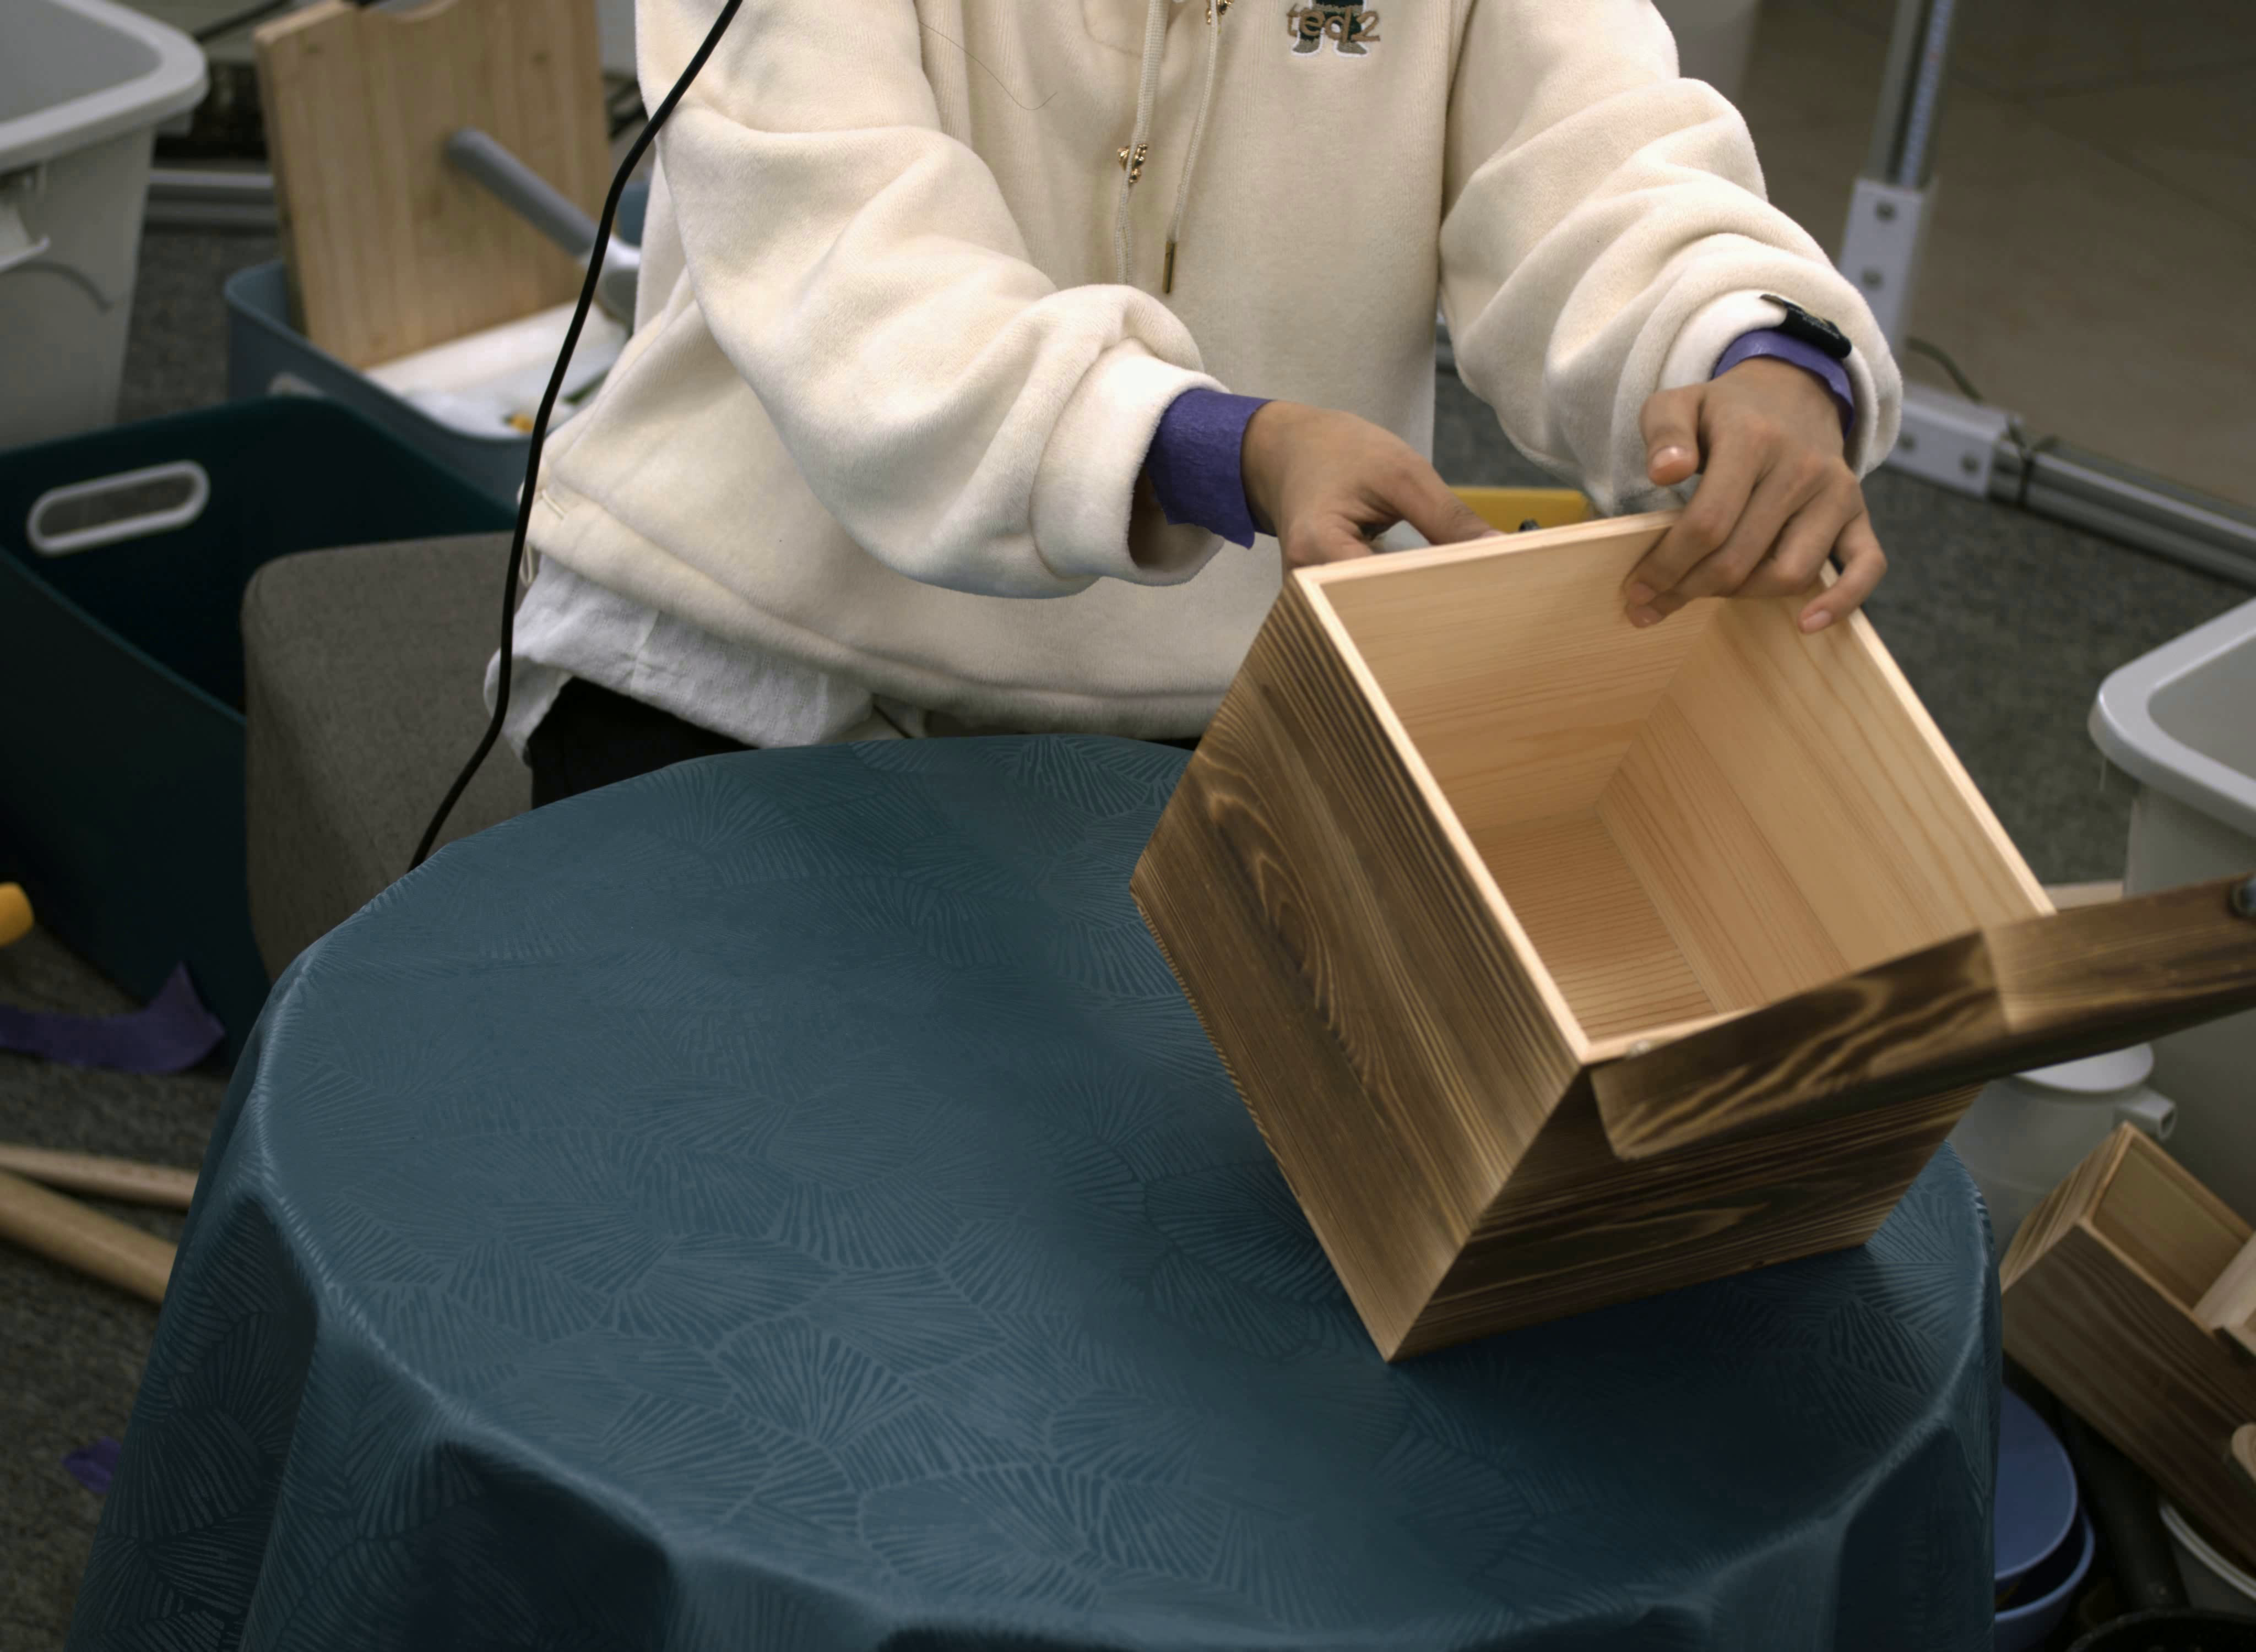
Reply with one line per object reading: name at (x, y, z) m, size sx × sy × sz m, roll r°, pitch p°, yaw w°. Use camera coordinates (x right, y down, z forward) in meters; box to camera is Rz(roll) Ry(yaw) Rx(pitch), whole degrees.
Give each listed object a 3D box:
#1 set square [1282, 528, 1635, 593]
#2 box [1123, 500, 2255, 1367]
set square at (0.101, -0.086, 1.780) m, size 0.131 × 0.006 × 0.061 m, roll -11°, pitch -1°, yaw -25°
box at (0.206, 0.011, 1.667) m, size 0.207 × 0.374 × 0.325 m, roll -10°, pitch 56°, yaw -31°
